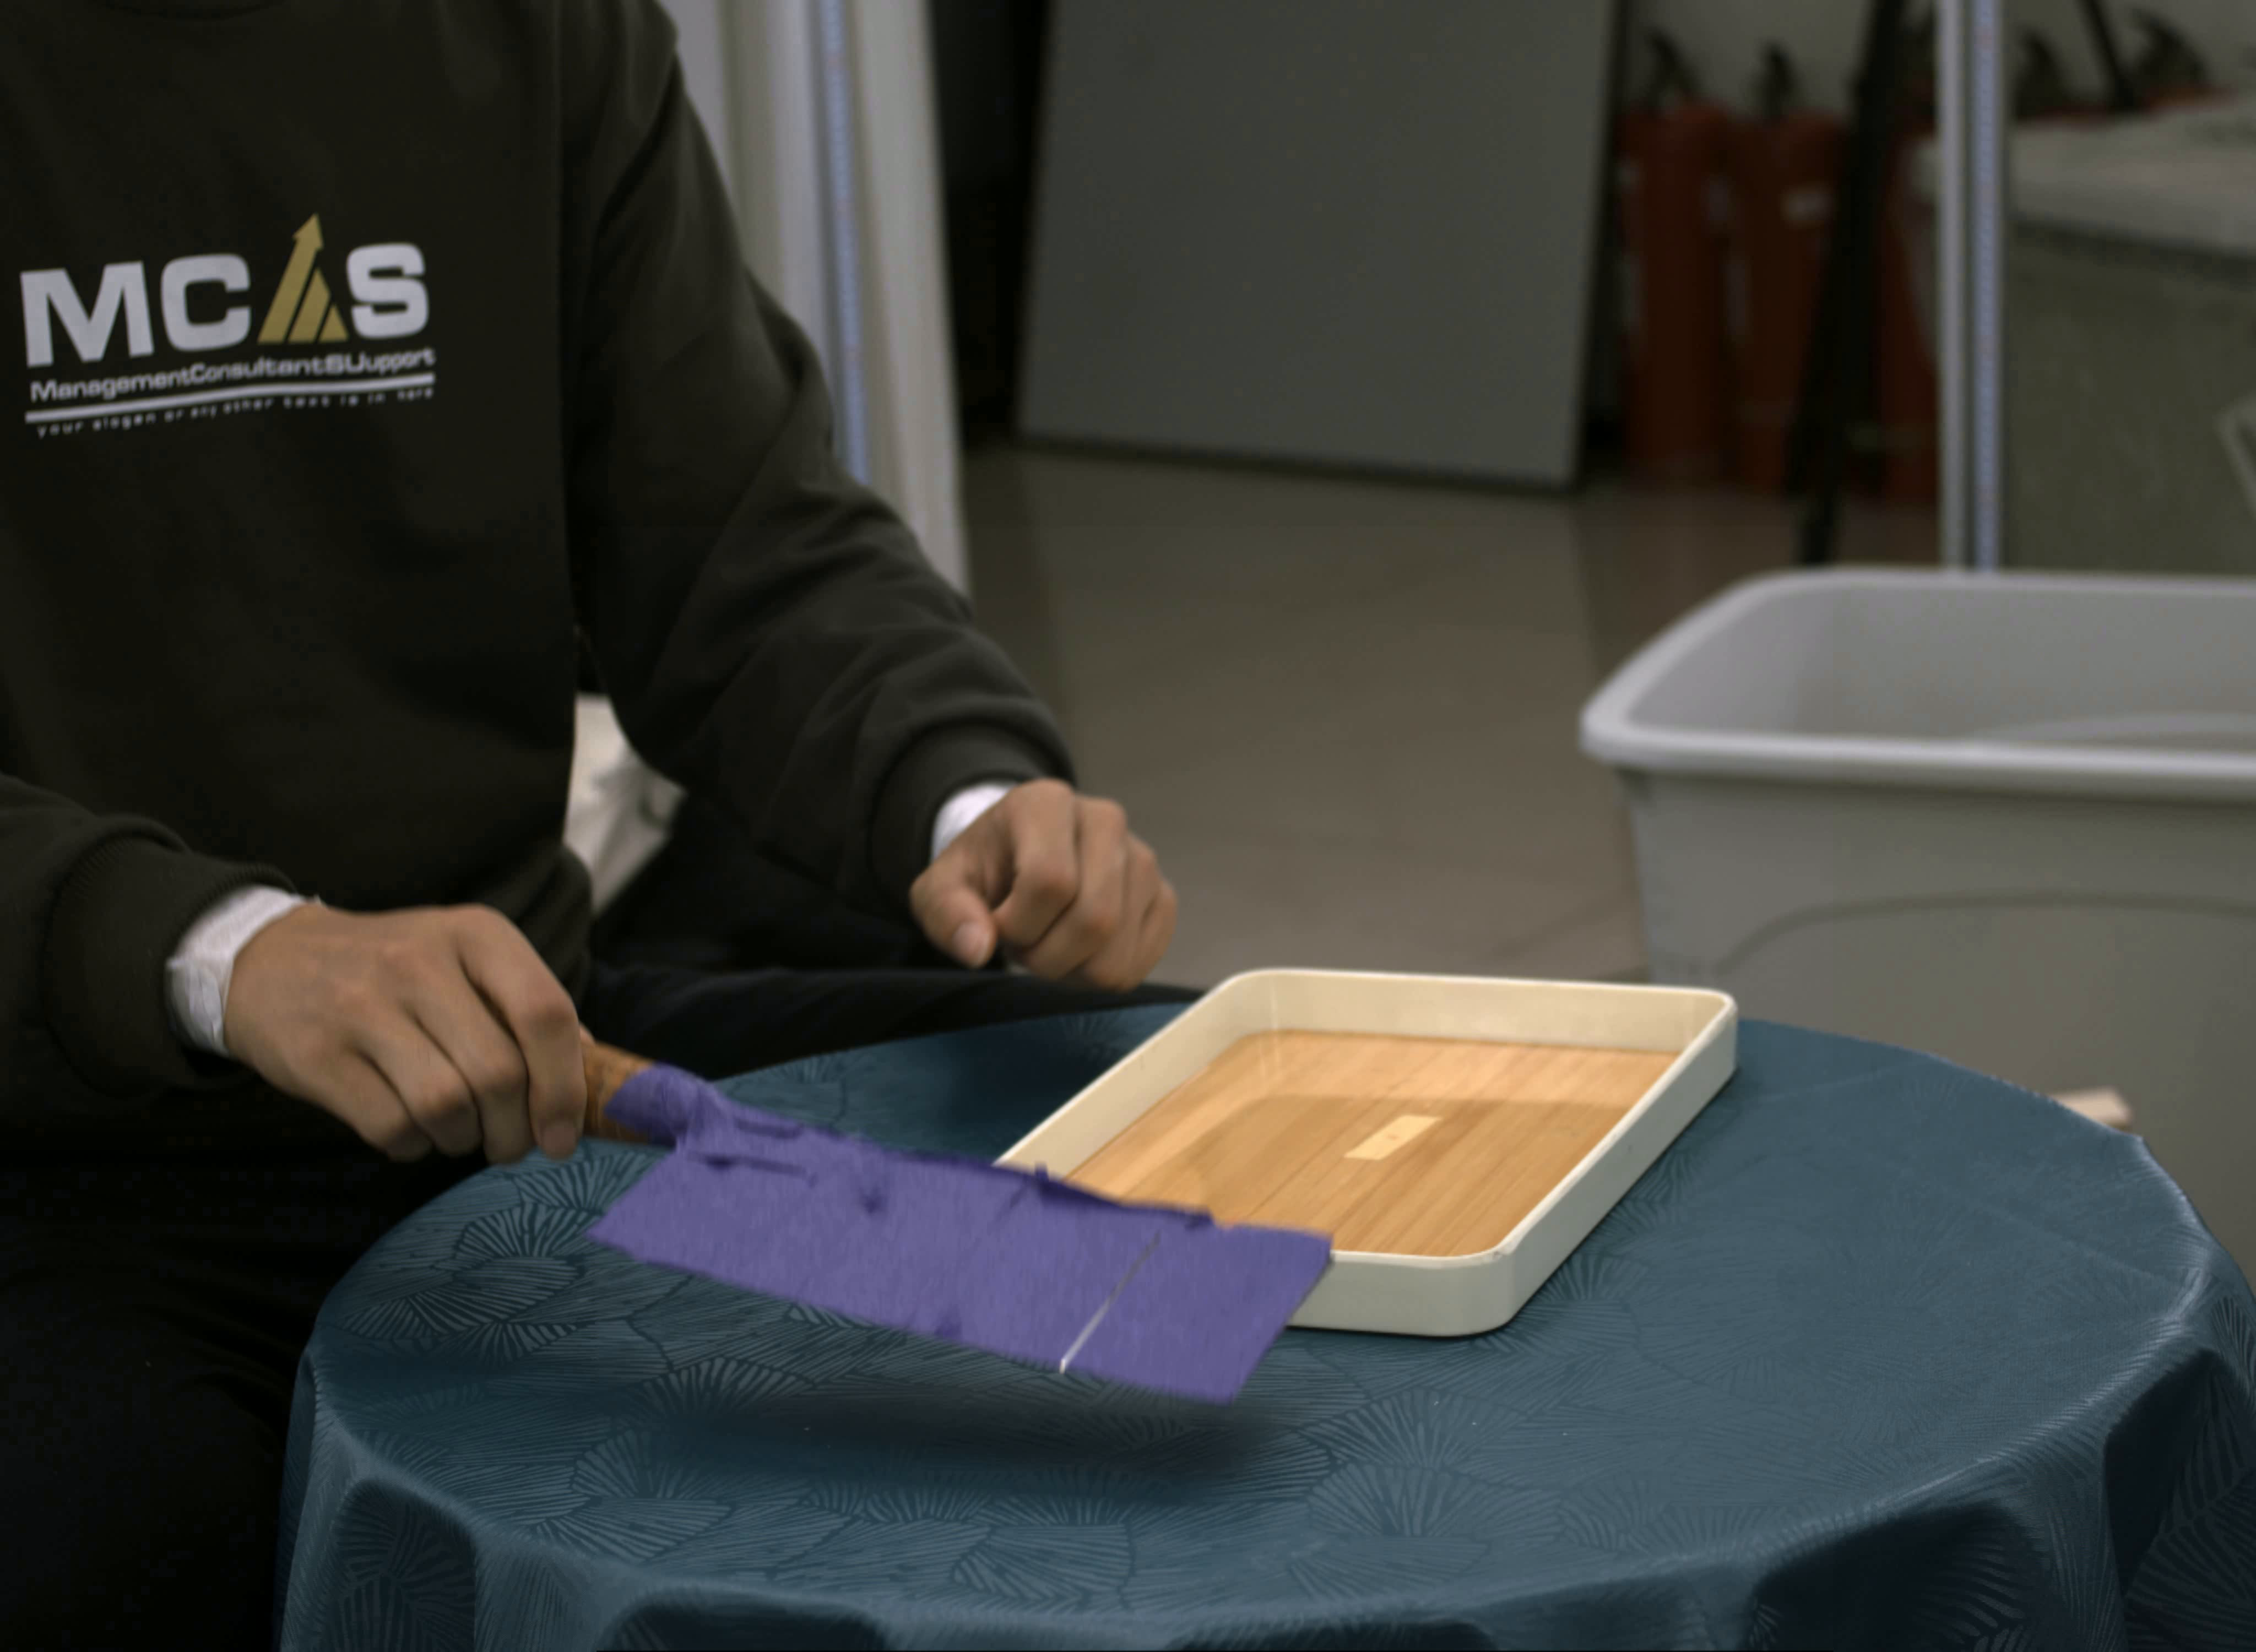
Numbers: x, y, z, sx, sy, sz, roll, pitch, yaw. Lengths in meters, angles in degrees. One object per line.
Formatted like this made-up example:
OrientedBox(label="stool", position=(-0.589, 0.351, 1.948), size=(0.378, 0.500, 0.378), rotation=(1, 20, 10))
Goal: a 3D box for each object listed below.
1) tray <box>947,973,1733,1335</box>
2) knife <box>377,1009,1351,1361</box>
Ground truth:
OrientedBox(label="tray", position=(0.074, 0.103, 1.769), size=(0.191, 0.028, 0.297), rotation=(1, 15, 22))
OrientedBox(label="knife", position=(-0.094, 0.104, 1.585), size=(0.315, 0.032, 0.103), rotation=(9, 27, 23))
